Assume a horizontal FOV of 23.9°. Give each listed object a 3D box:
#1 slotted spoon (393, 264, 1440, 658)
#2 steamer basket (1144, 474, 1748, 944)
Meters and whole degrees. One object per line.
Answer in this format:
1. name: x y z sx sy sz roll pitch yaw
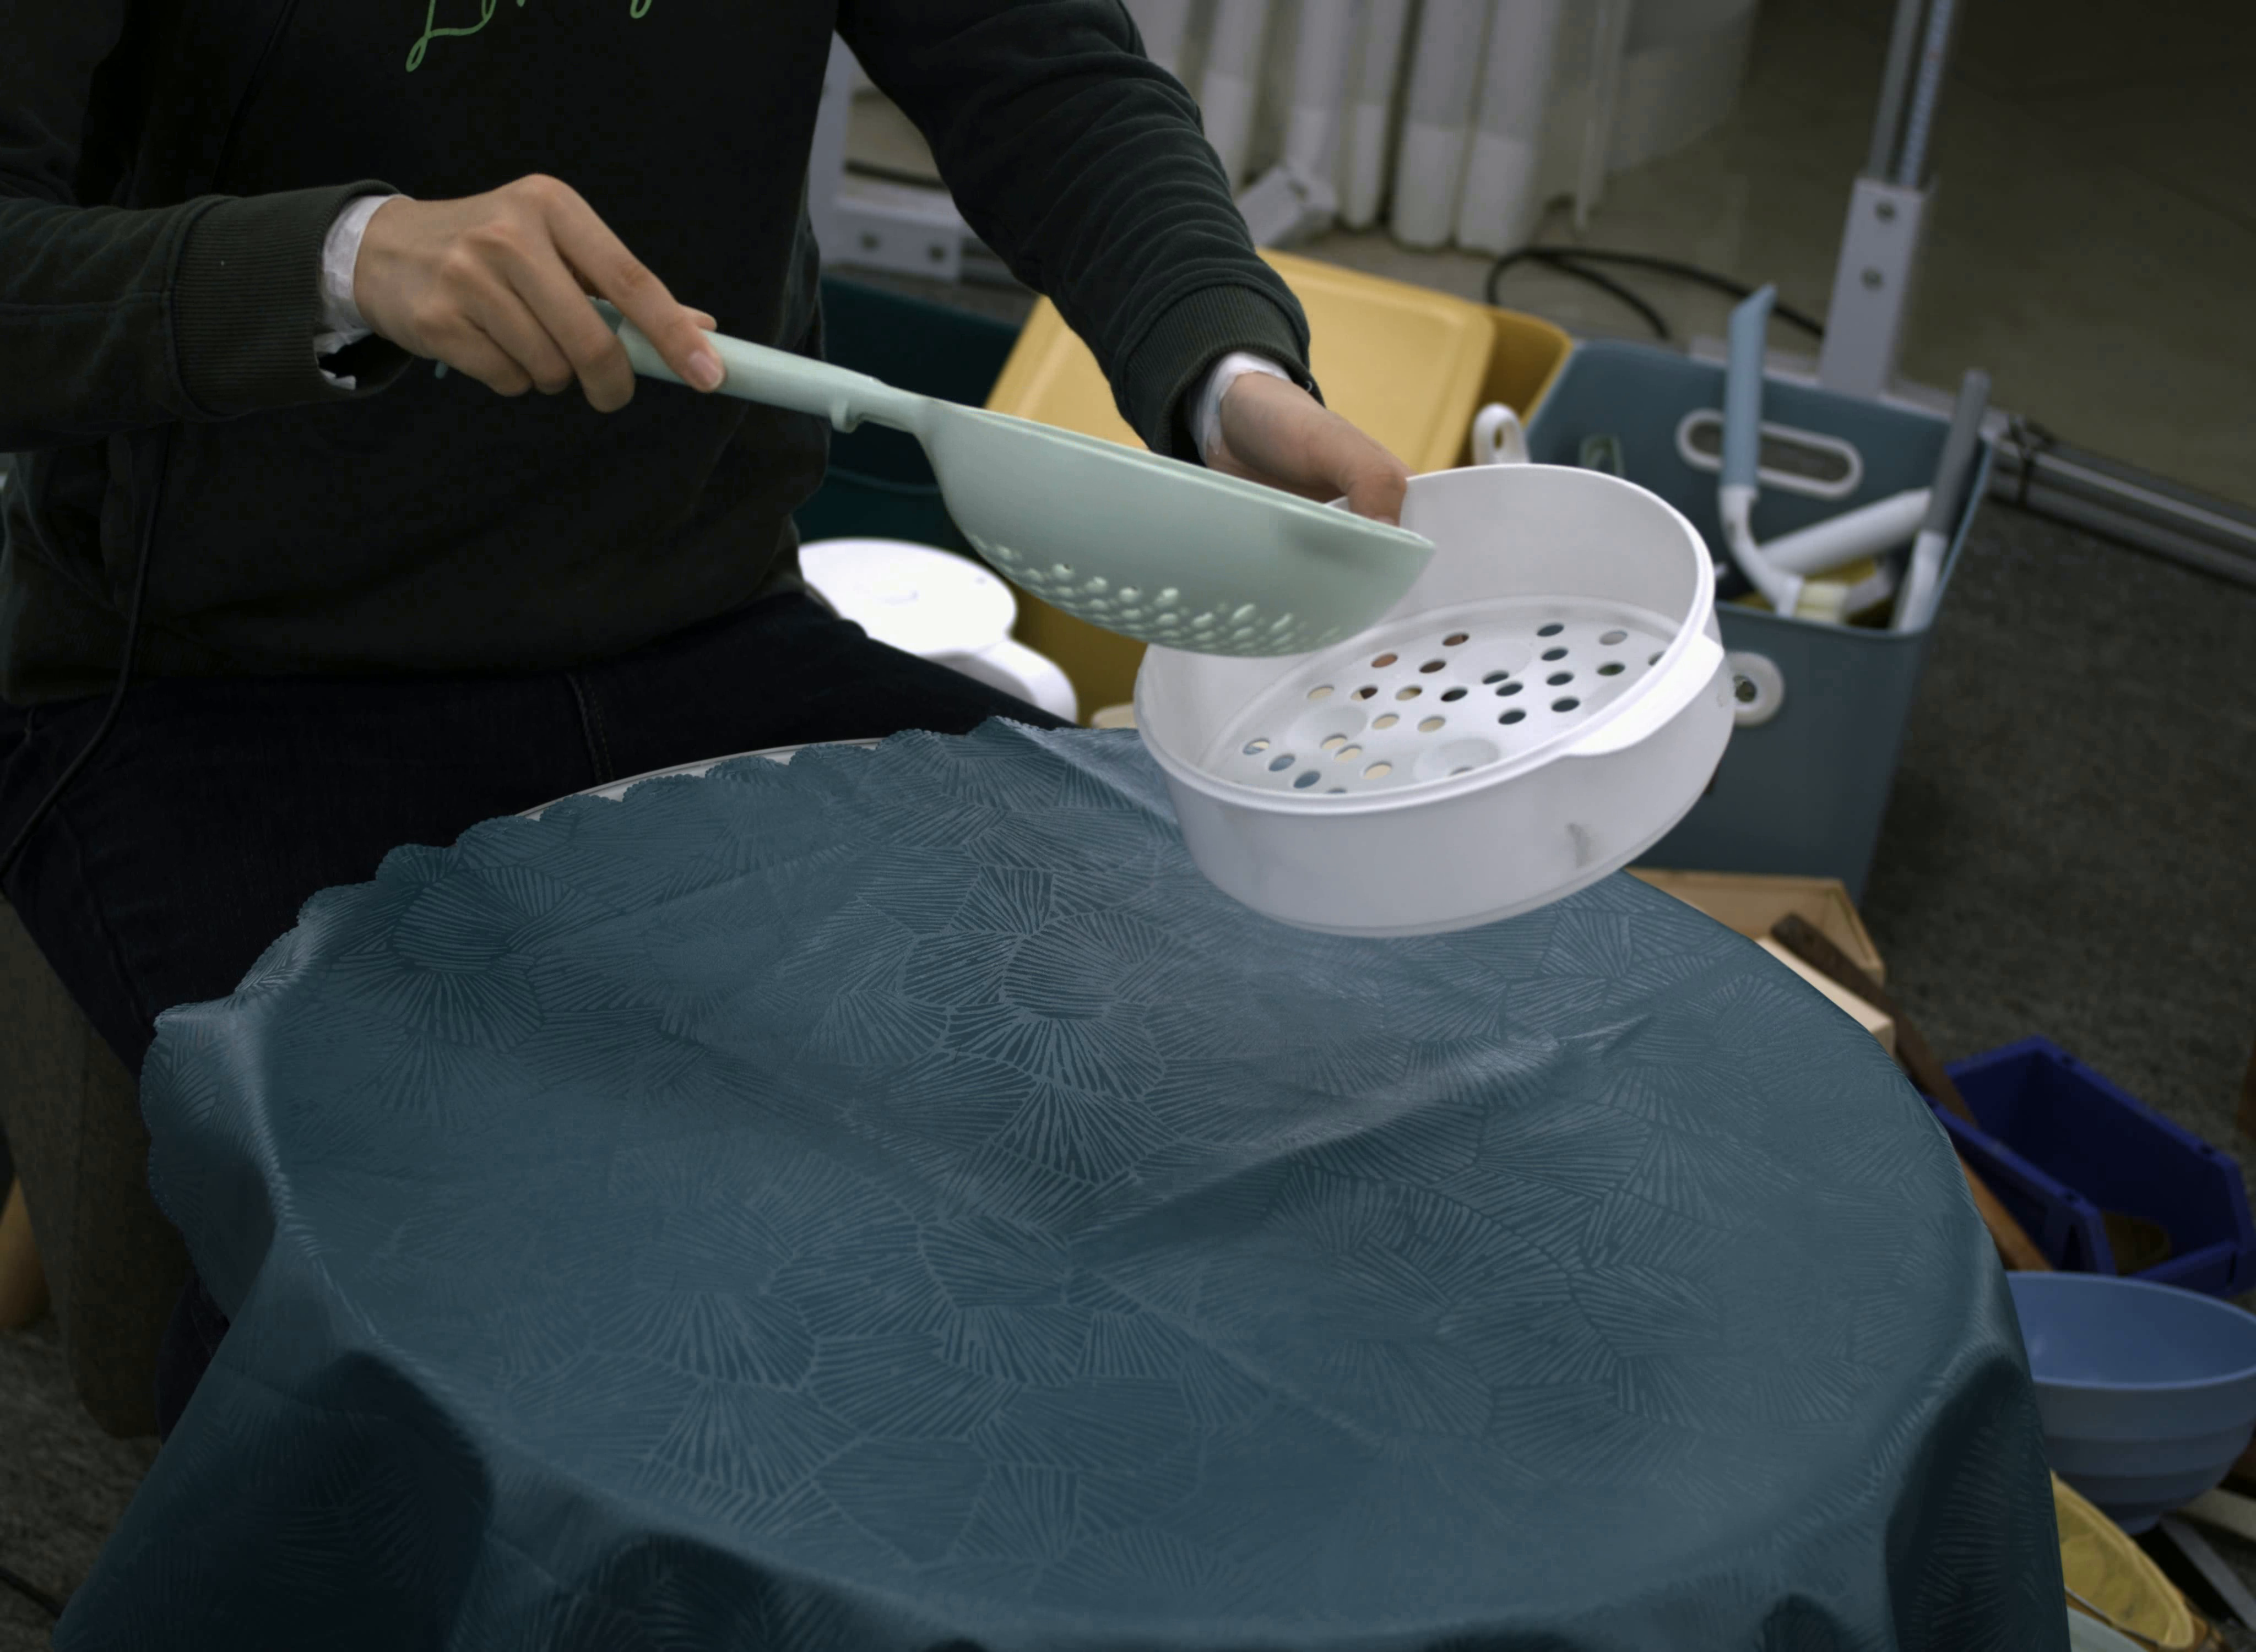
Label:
1. slotted spoon: -0.074 -0.132 1.758 0.359 0.075 0.169 25 5 11
2. steamer basket: 0.109 -0.039 1.791 0.232 0.069 0.202 16 44 43
